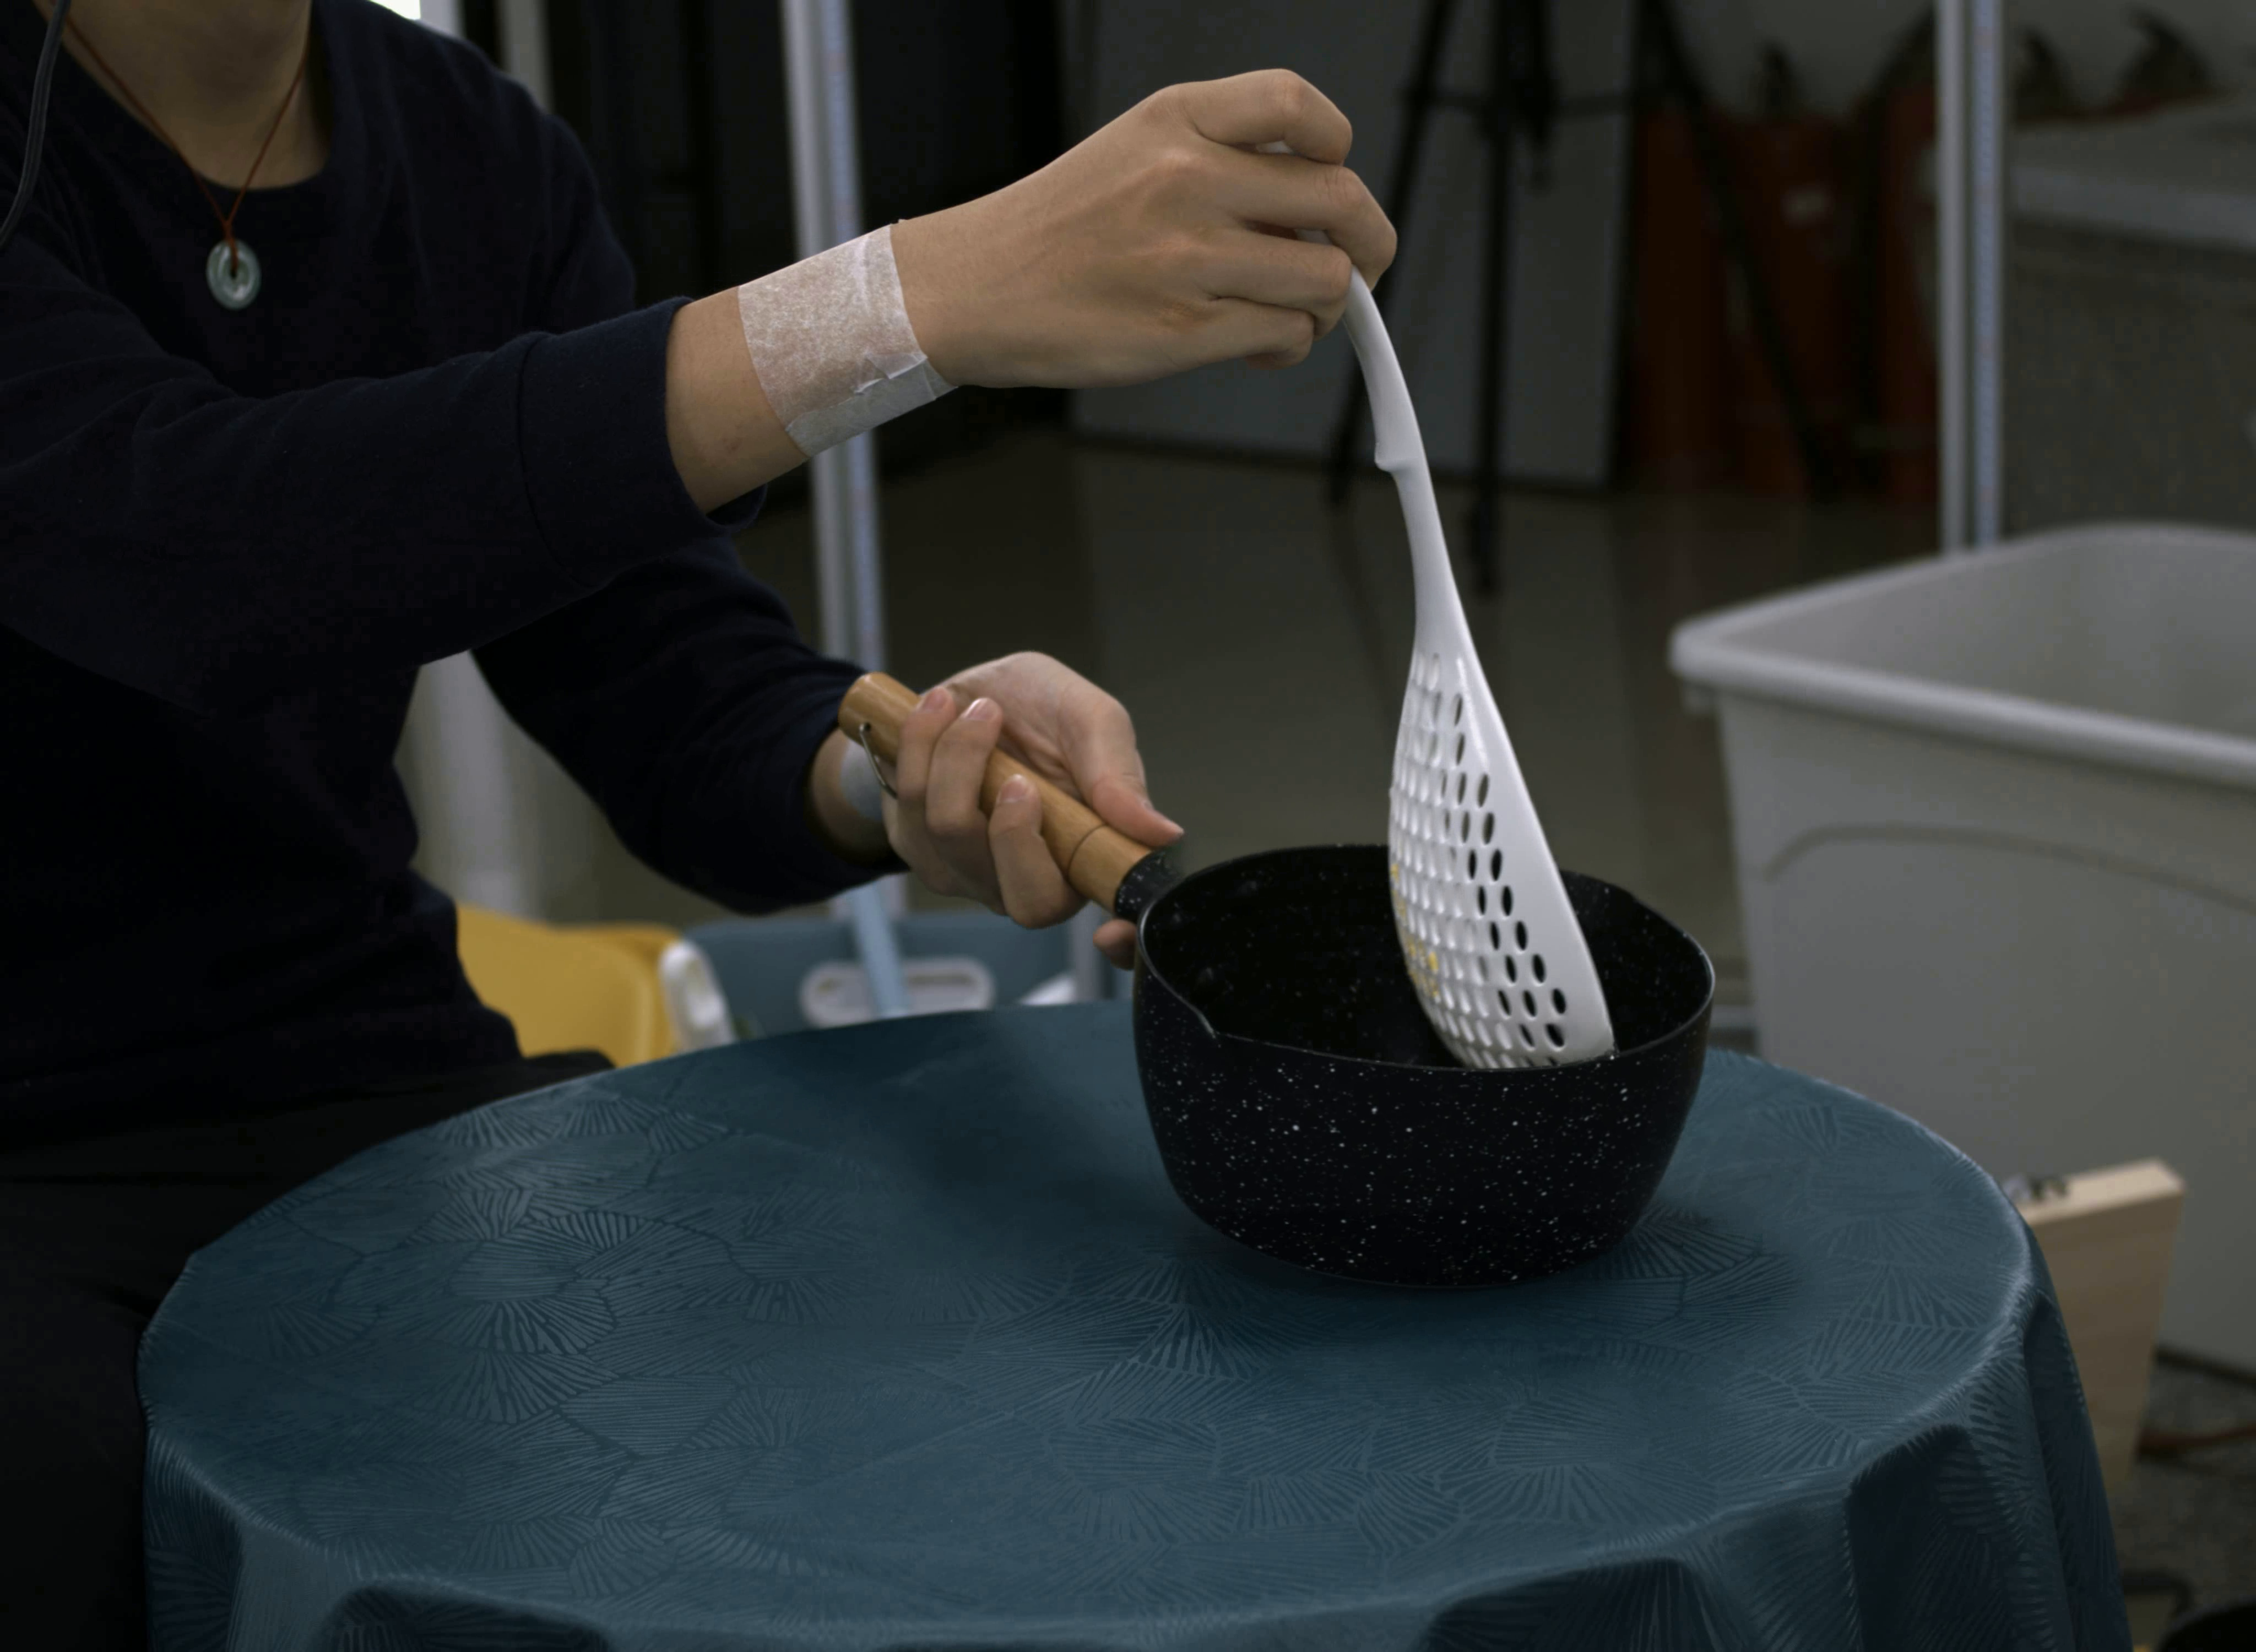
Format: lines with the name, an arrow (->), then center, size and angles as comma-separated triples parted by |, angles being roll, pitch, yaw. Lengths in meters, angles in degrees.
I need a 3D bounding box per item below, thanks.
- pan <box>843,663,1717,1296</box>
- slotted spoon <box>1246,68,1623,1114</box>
pan -> 0.031, 0.044, 1.744 | 0.345, 0.109, 0.203 | 21, 27, 36
slotted spoon -> 0.086, -0.064, 1.634 | 0.049, 0.351, 0.138 | -15, 20, -12
